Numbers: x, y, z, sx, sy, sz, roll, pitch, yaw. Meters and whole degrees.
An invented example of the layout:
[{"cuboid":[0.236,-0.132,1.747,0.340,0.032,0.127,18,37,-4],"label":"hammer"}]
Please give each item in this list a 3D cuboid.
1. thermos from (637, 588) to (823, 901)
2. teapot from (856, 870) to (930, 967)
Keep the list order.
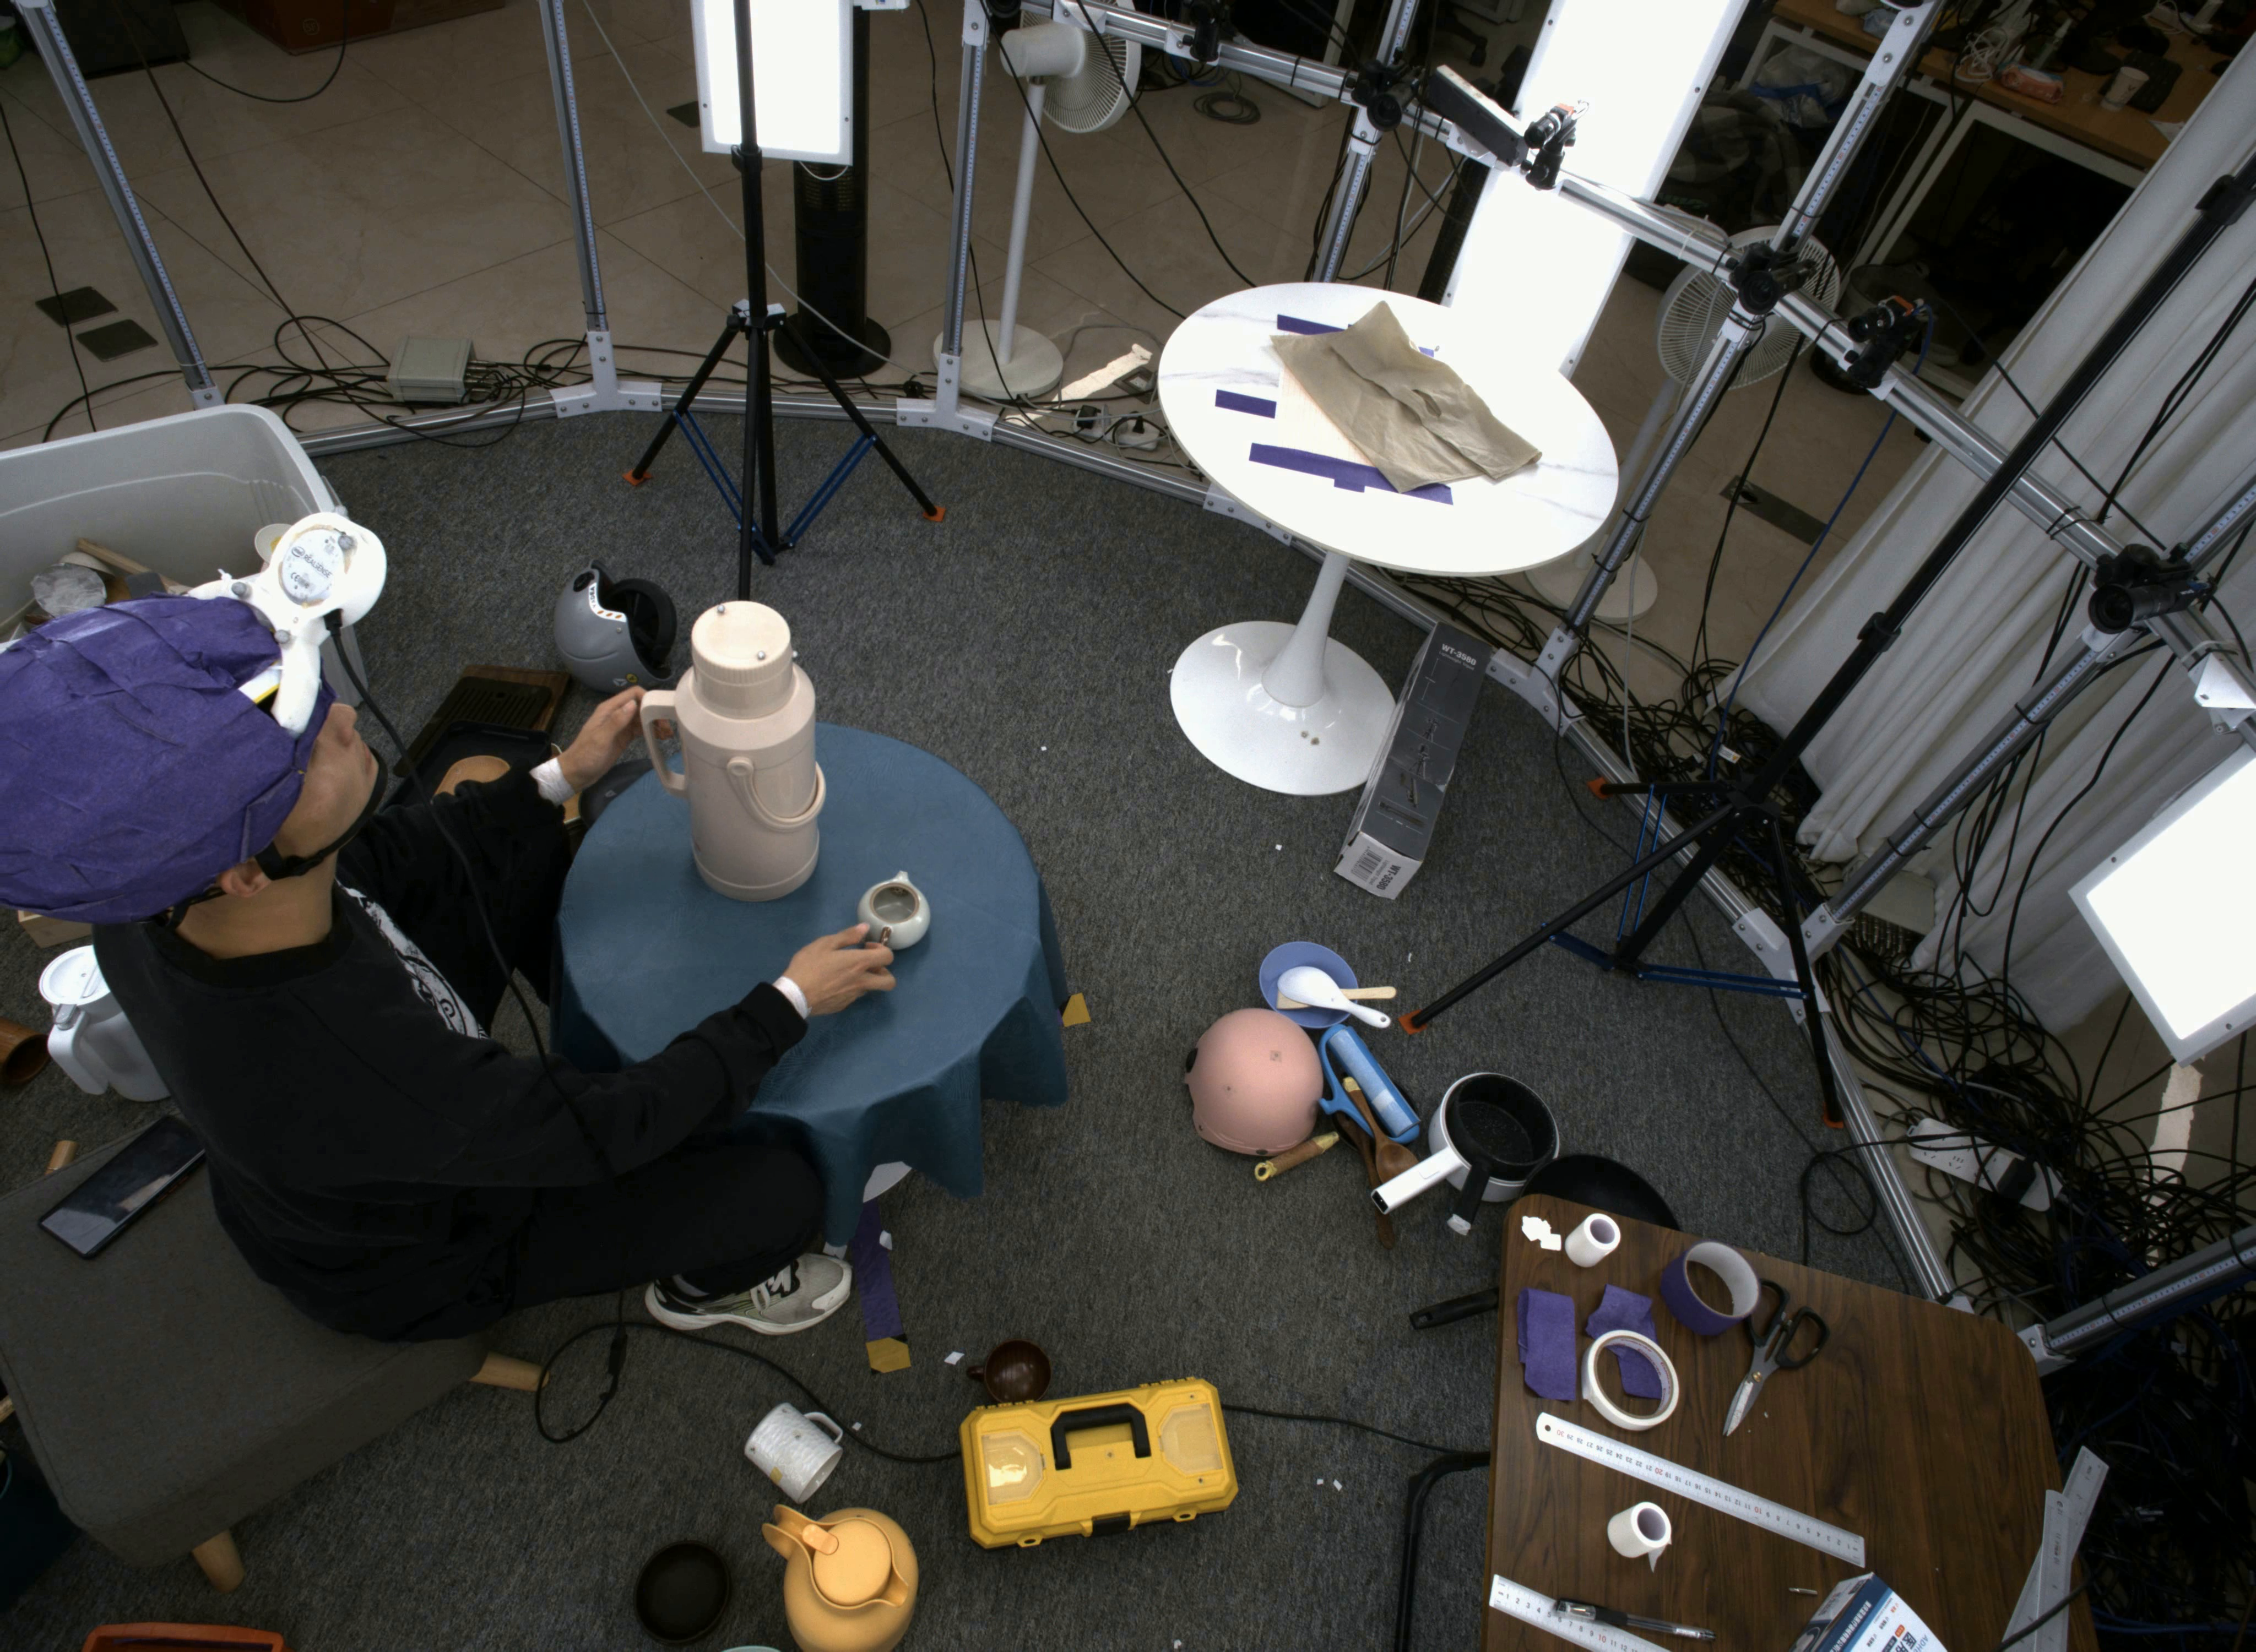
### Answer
[{"cuboid":[-0.466,-0.093,1.523,0.207,0.414,0.172,0,54,-13],"label":"thermos"},{"cuboid":[-0.296,0.117,1.629,0.092,0.060,0.126,12,50,-8],"label":"teapot"}]
